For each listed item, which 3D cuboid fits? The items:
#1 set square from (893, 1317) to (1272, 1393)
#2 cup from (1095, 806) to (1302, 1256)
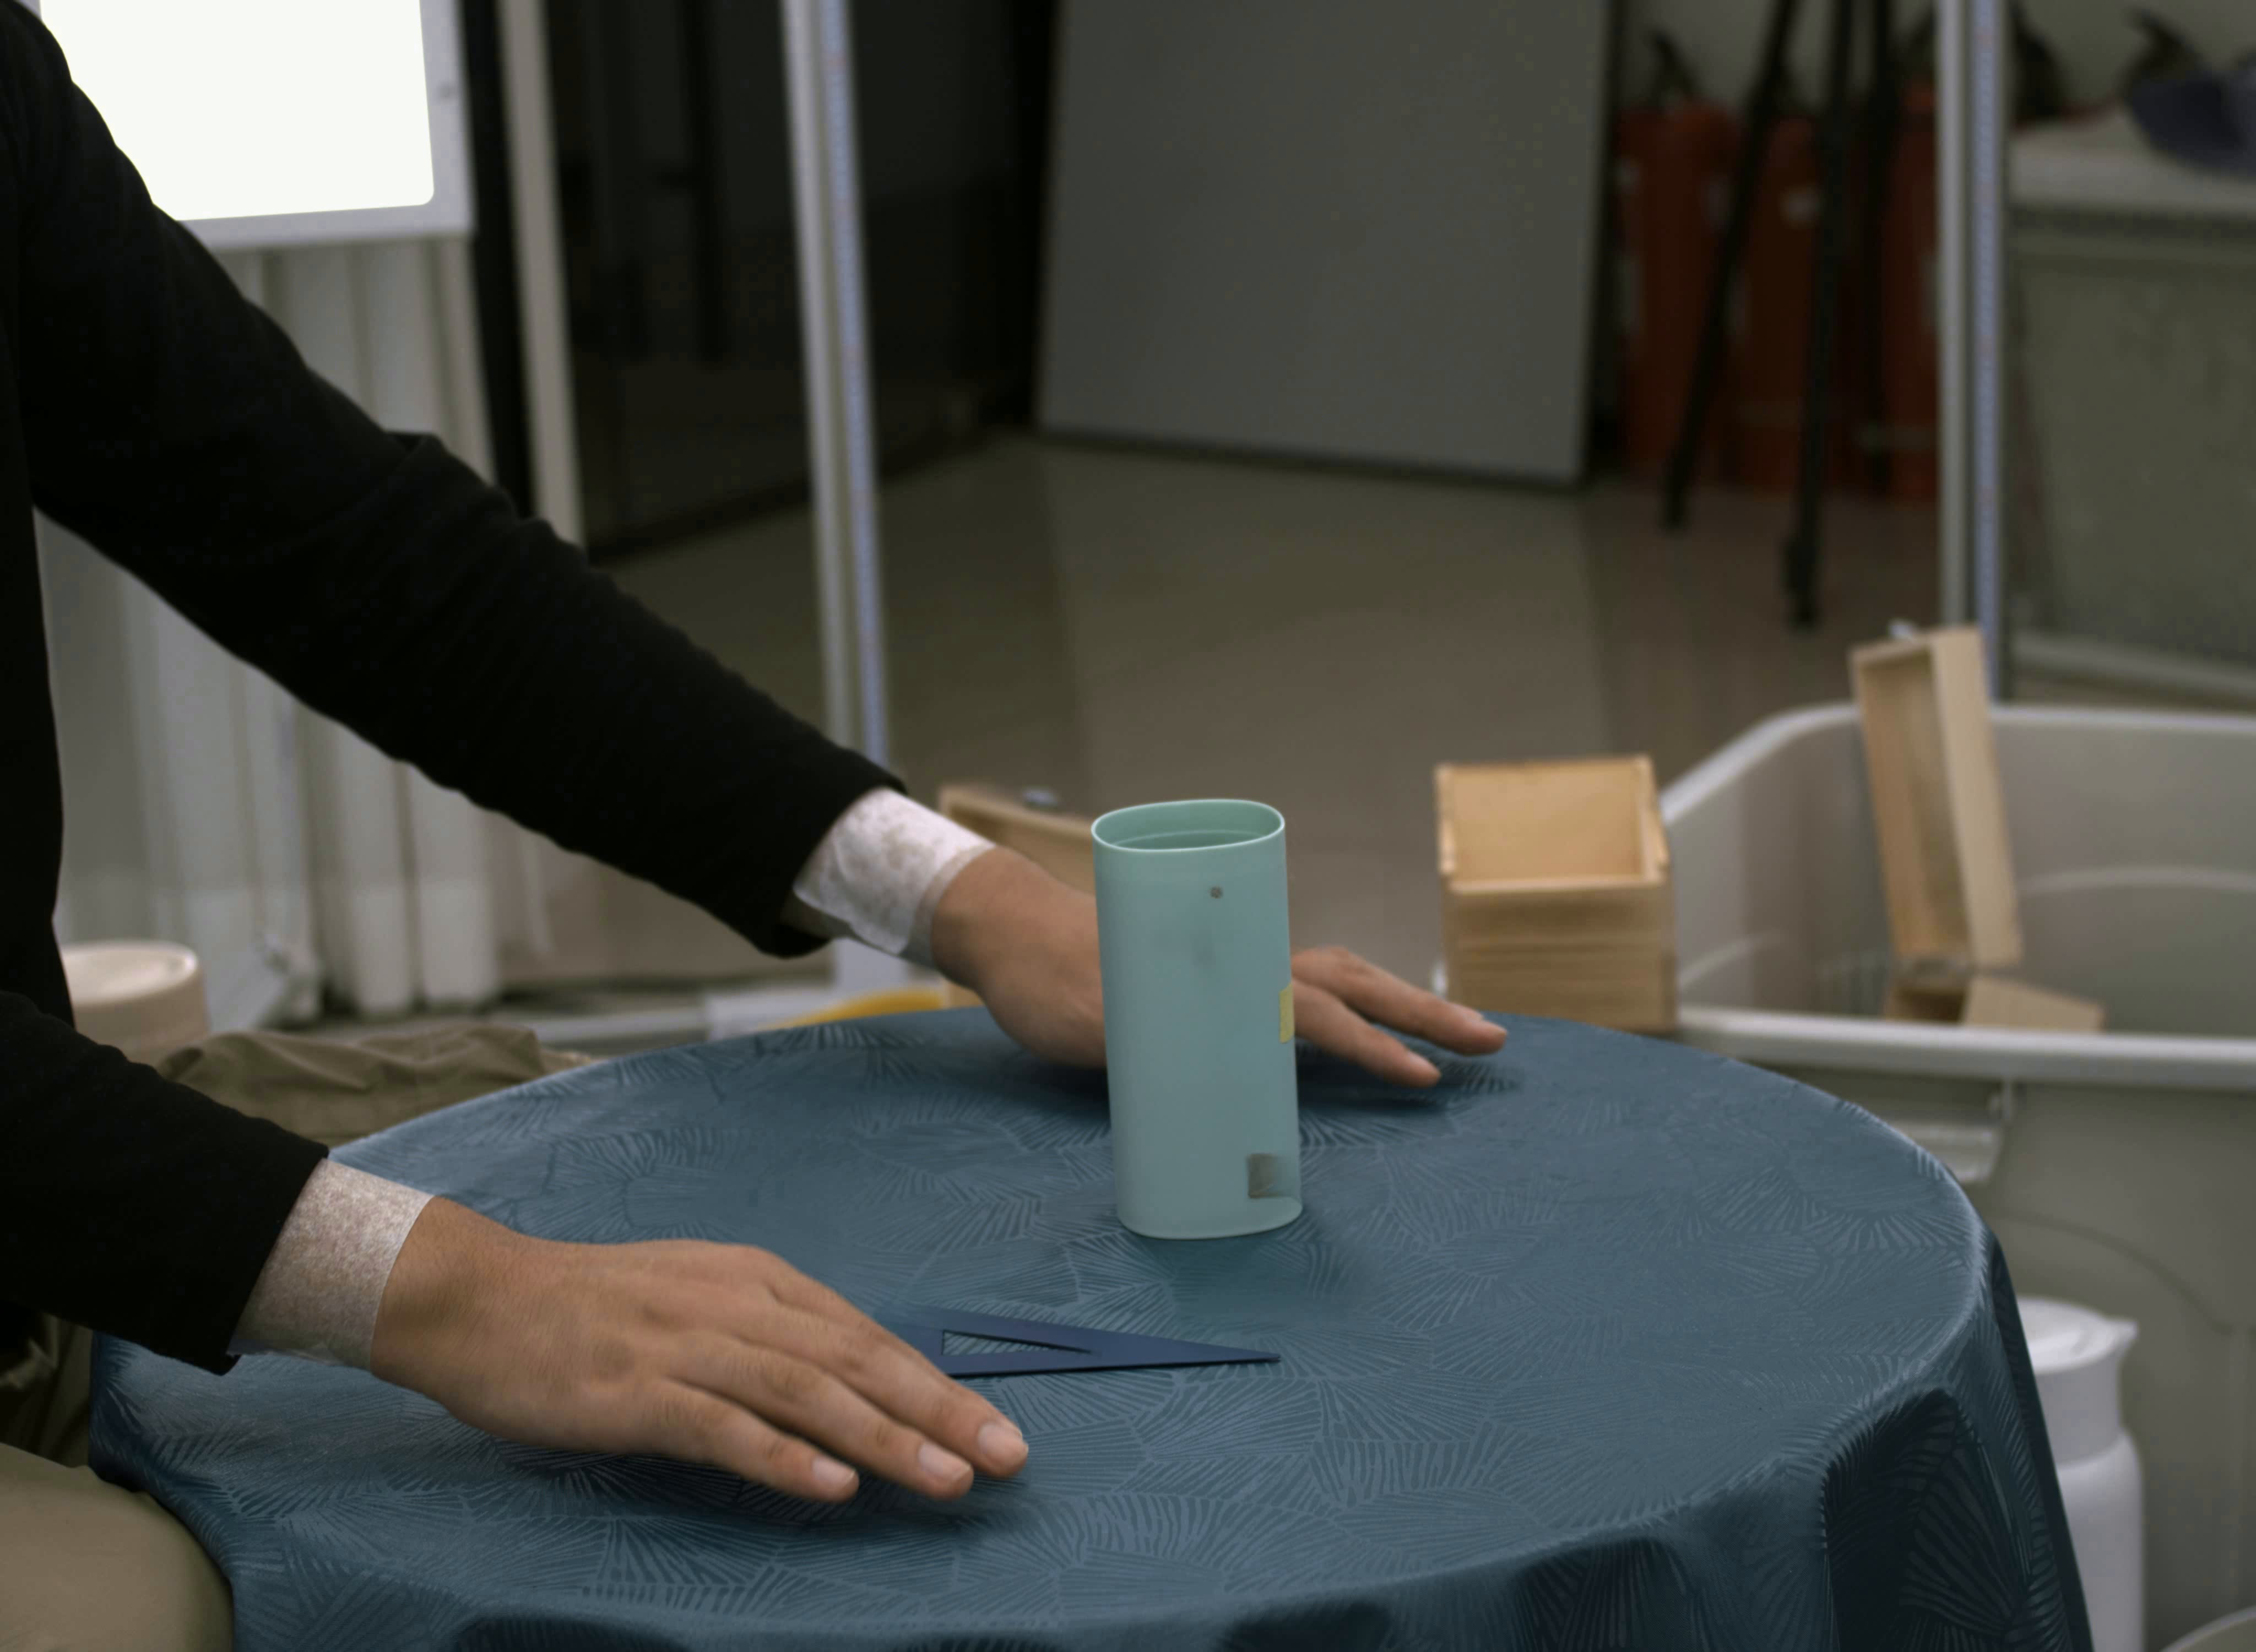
[{"bbox_3d":[-0.023,0.161,1.603,0.133,0.006,0.060,6,15,36],"label":"set square"},{"bbox_3d":[0.022,0.065,1.731,0.066,0.134,0.067,-3,14,0],"label":"cup"}]
